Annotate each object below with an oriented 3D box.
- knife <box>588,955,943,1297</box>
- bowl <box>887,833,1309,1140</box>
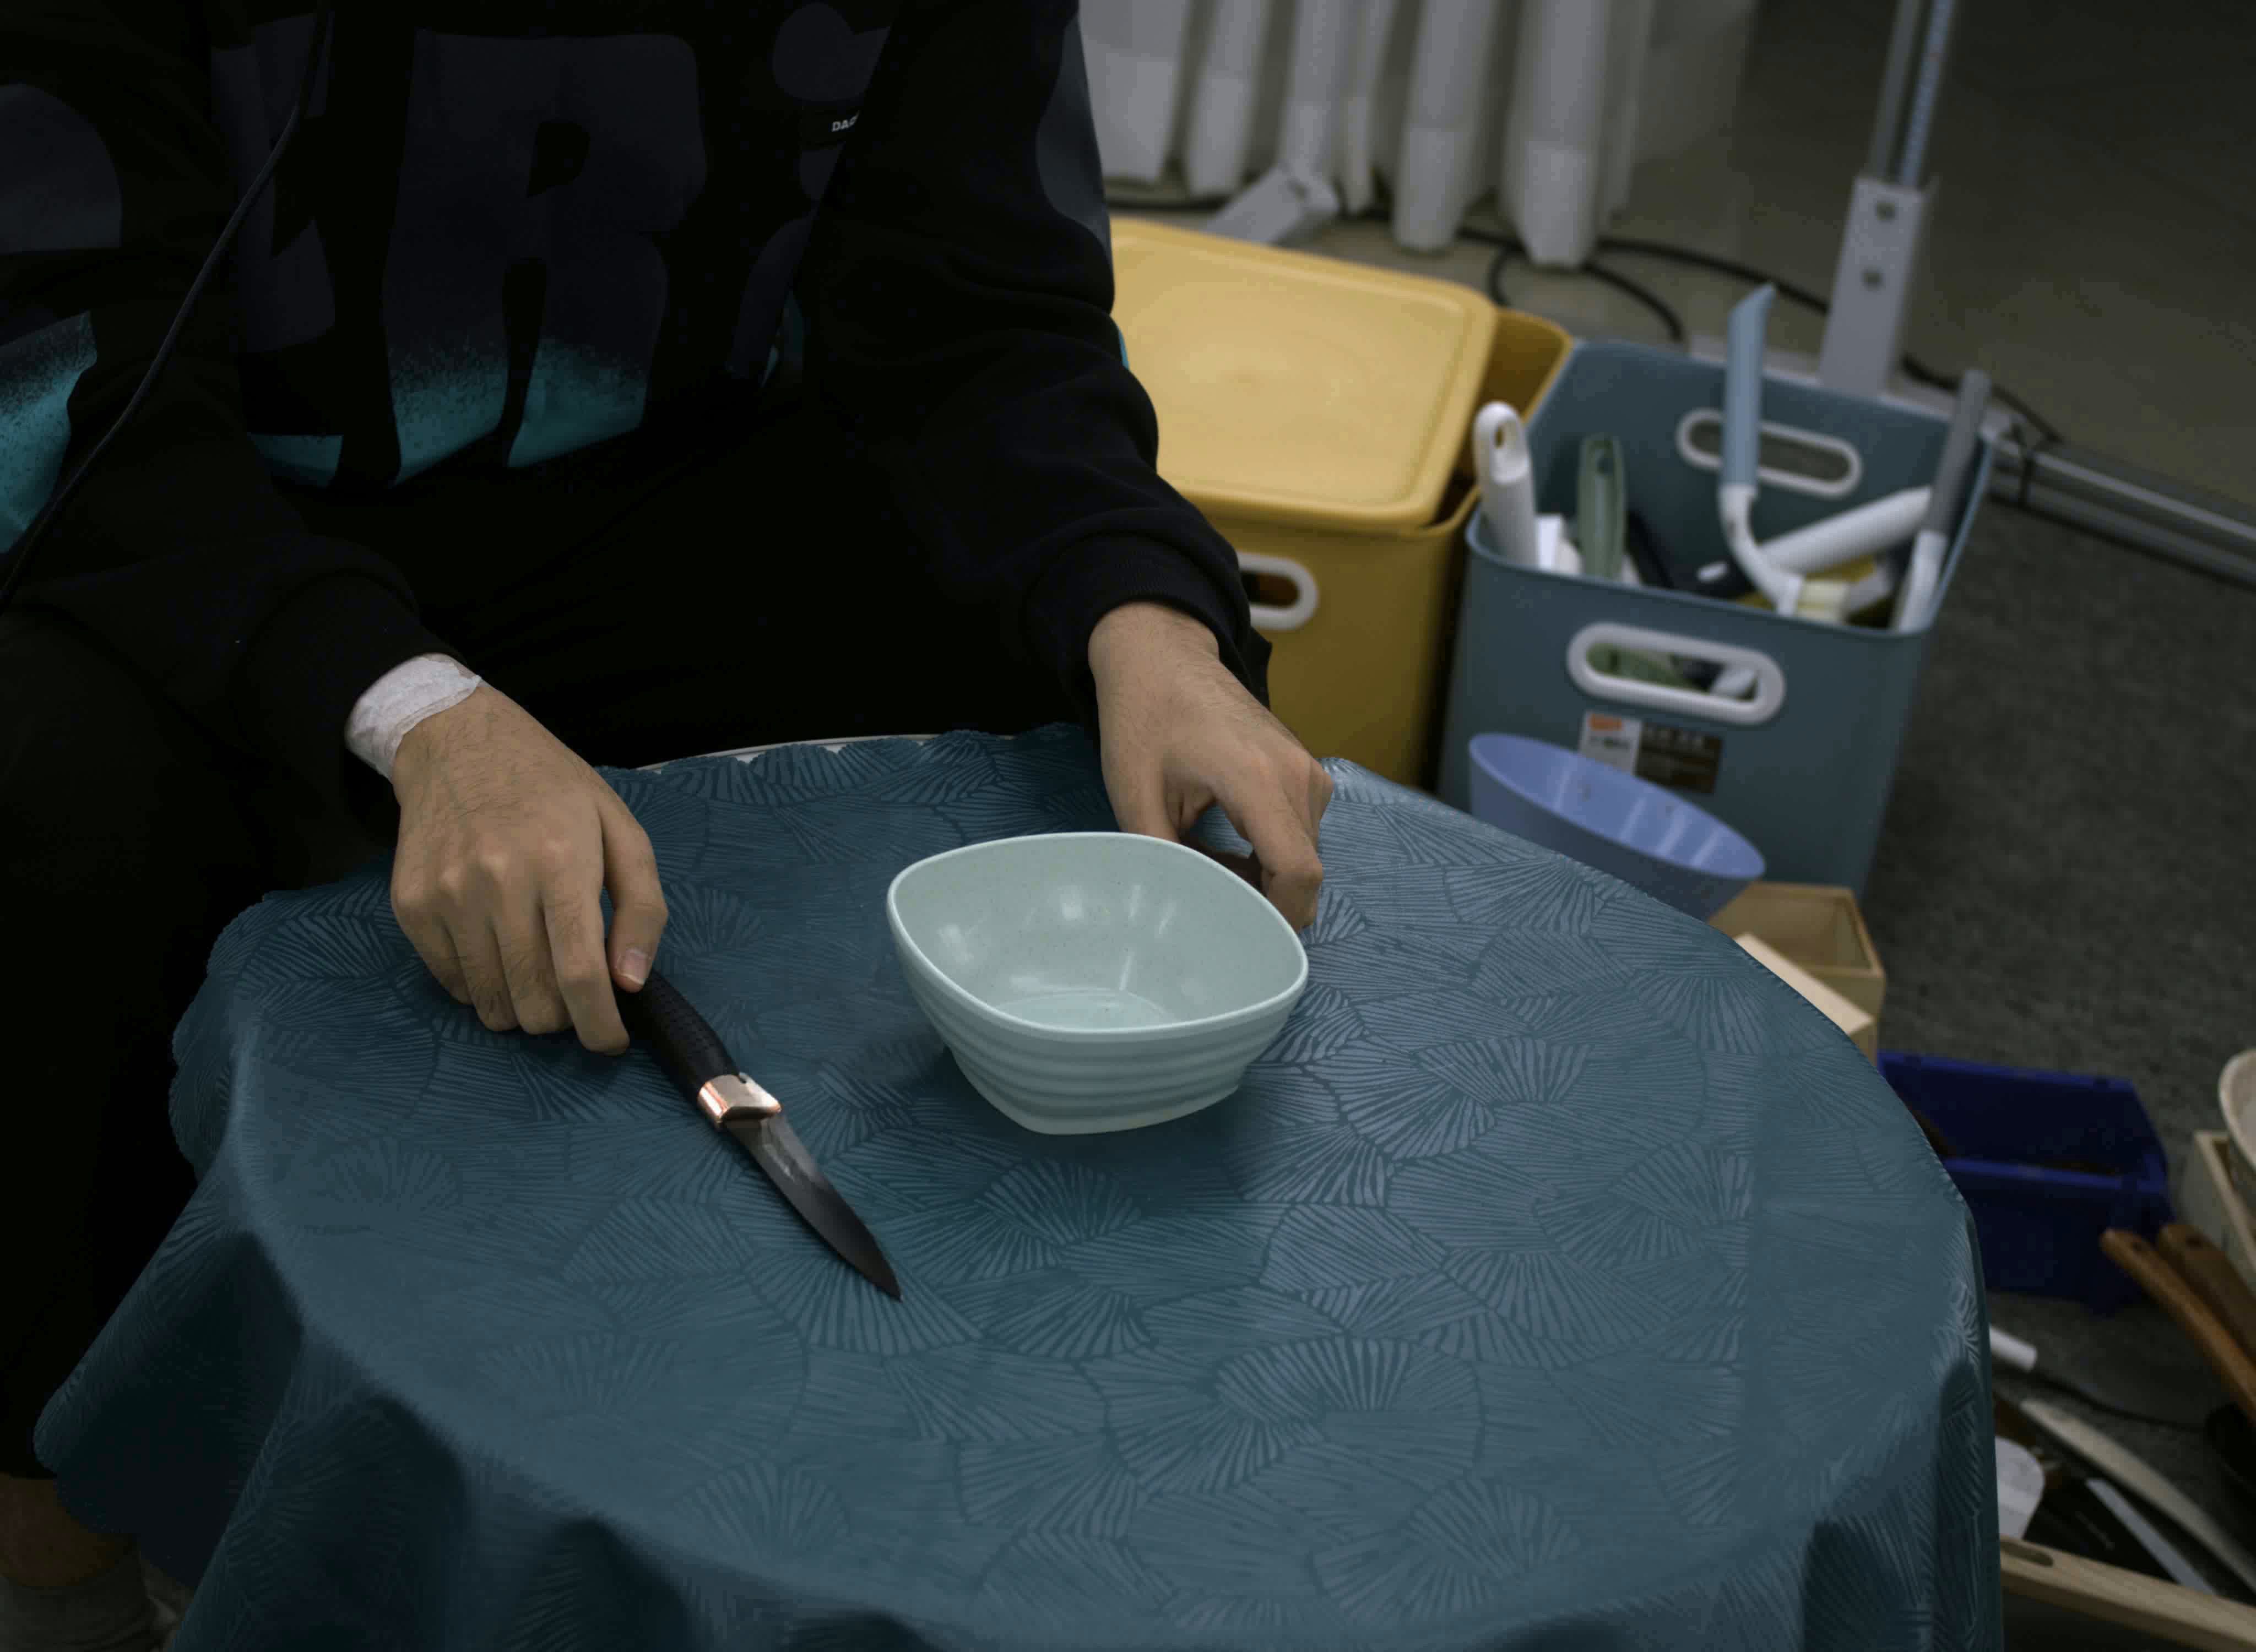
[{"bbox_3d":[-0.126,0.101,1.807,0.026,0.017,0.227,-3,29,-35],"label":"knife"},{"bbox_3d":[-0.013,0.062,1.861,0.151,0.058,0.152,4,28,-3],"label":"bowl"}]
